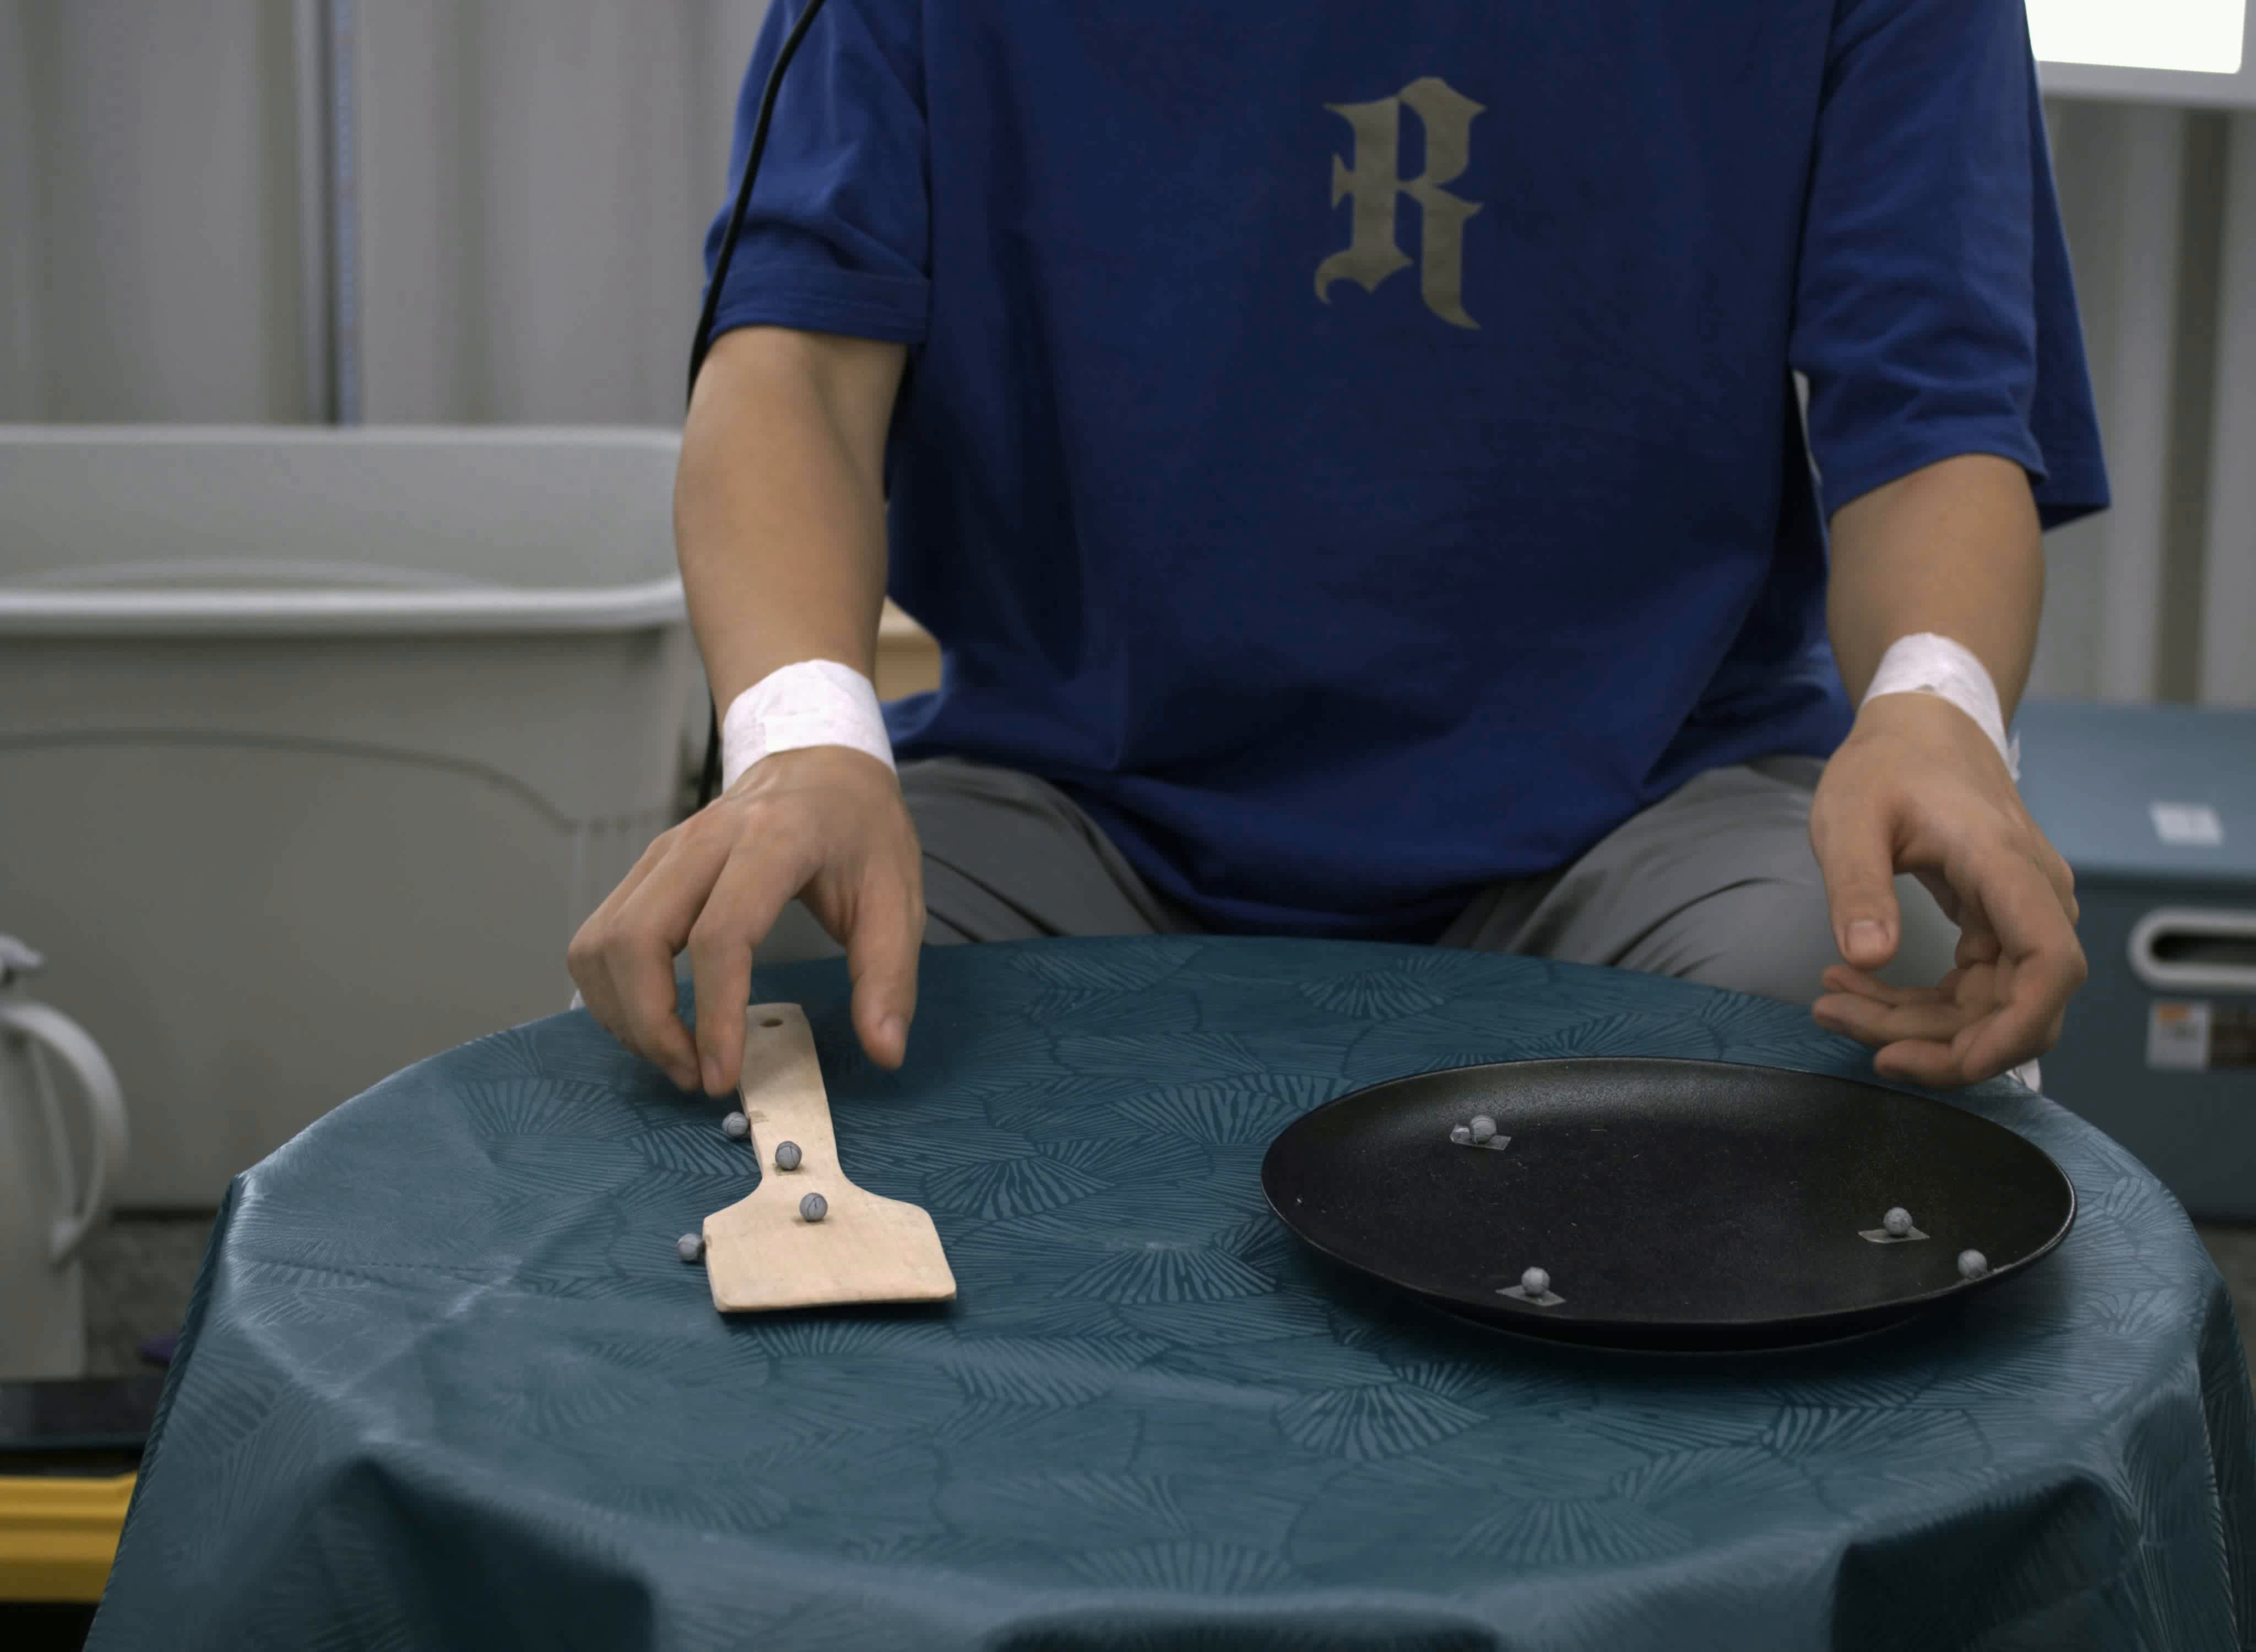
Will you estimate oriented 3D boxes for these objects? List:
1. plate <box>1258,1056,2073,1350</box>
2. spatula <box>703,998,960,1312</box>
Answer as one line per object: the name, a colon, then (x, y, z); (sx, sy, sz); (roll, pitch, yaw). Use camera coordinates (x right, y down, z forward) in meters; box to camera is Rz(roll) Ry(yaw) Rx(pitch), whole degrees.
plate: (0.159, 0.115, 1.576); (0.243, 0.023, 0.243); (1, 15, 0)
spatula: (-0.103, 0.100, 1.645); (0.072, 0.011, 0.290); (-3, 16, -8)
